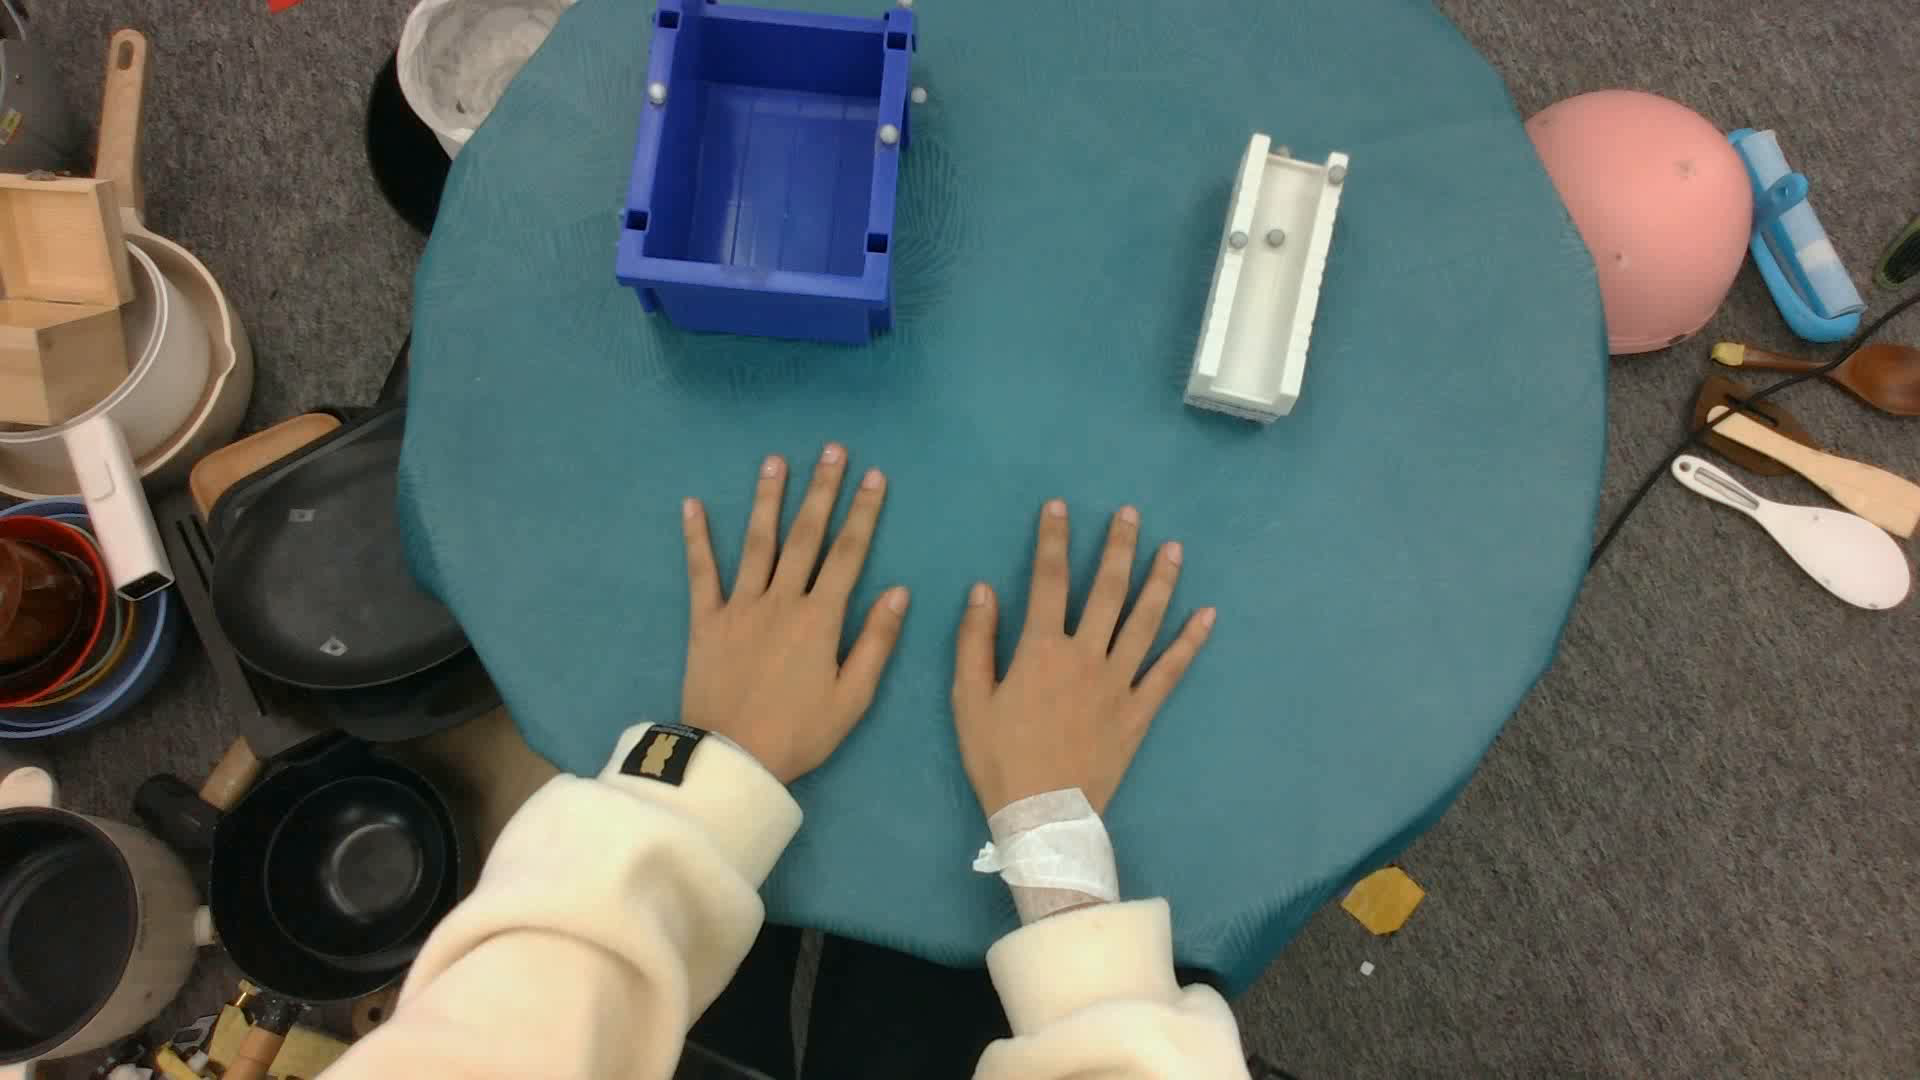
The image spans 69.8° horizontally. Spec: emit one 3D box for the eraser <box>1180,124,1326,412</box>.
[{"bbox_3d":[0.144,-0.134,0.683,0.050,0.046,0.134,13,72,-1],"label":"eraser"}]

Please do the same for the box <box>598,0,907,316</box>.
[{"bbox_3d":[-0.097,-0.201,0.673,0.124,0.081,0.180,6,76,-1],"label":"box"}]
